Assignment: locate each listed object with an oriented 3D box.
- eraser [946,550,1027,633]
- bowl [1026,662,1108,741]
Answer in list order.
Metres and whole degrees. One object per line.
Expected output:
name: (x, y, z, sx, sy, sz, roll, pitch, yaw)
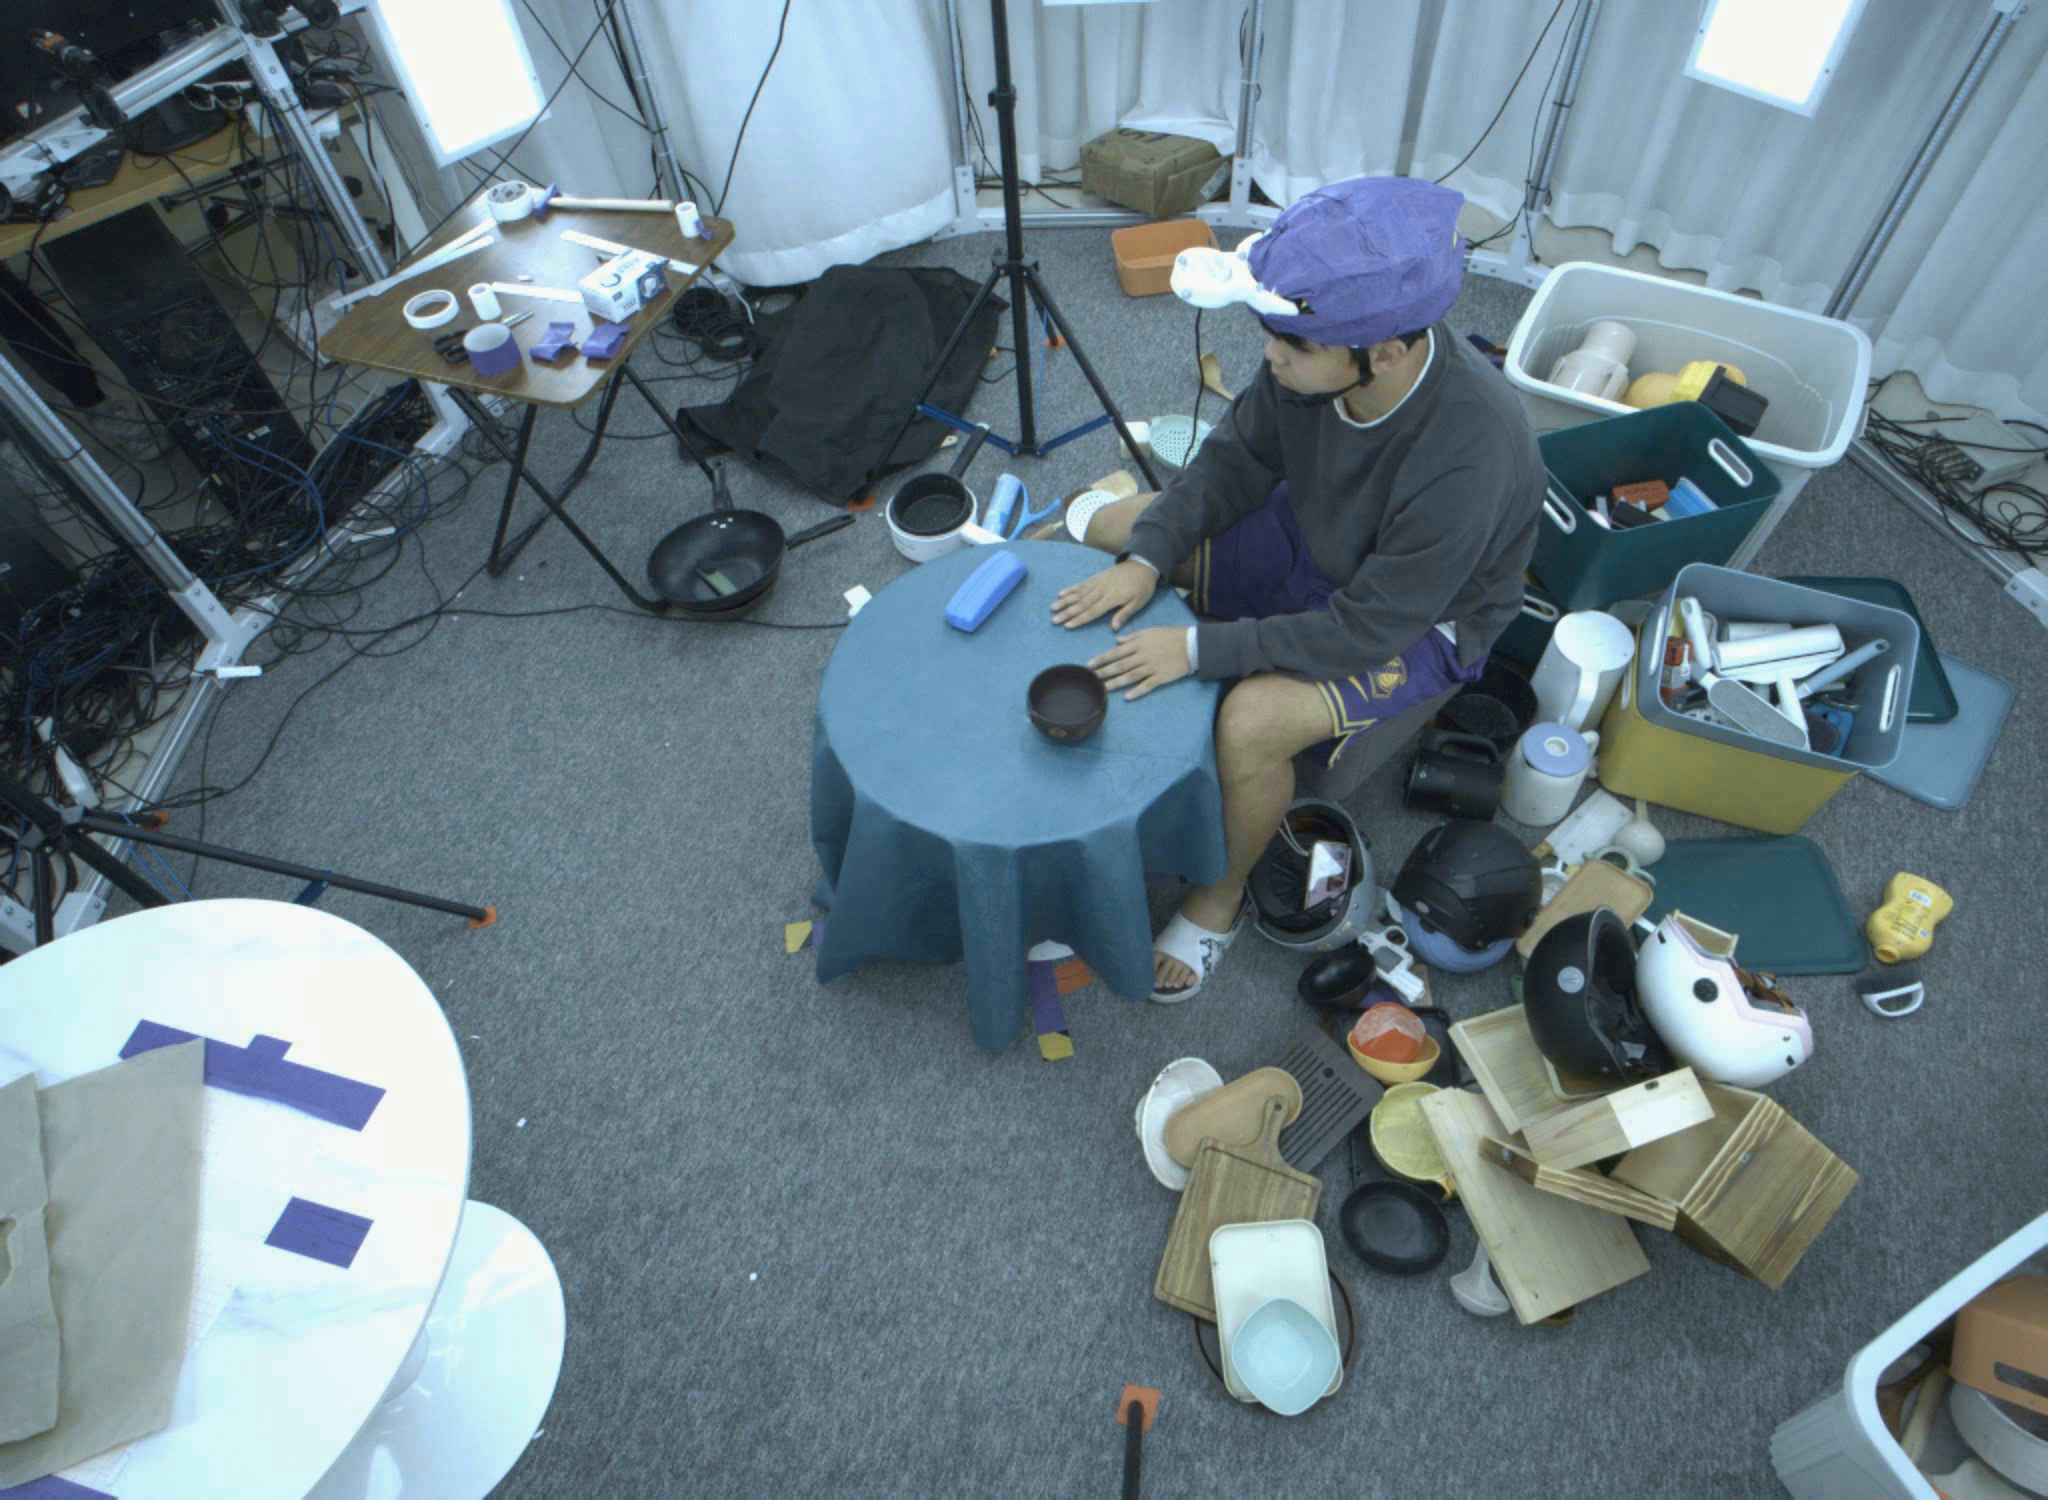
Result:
eraser: (-0.061, -0.257, 1.947, 0.053, 0.048, 0.163, 26, 60, 23)
bowl: (0.063, -0.063, 1.787, 0.118, 0.070, 0.117, 0, 53, 2)
